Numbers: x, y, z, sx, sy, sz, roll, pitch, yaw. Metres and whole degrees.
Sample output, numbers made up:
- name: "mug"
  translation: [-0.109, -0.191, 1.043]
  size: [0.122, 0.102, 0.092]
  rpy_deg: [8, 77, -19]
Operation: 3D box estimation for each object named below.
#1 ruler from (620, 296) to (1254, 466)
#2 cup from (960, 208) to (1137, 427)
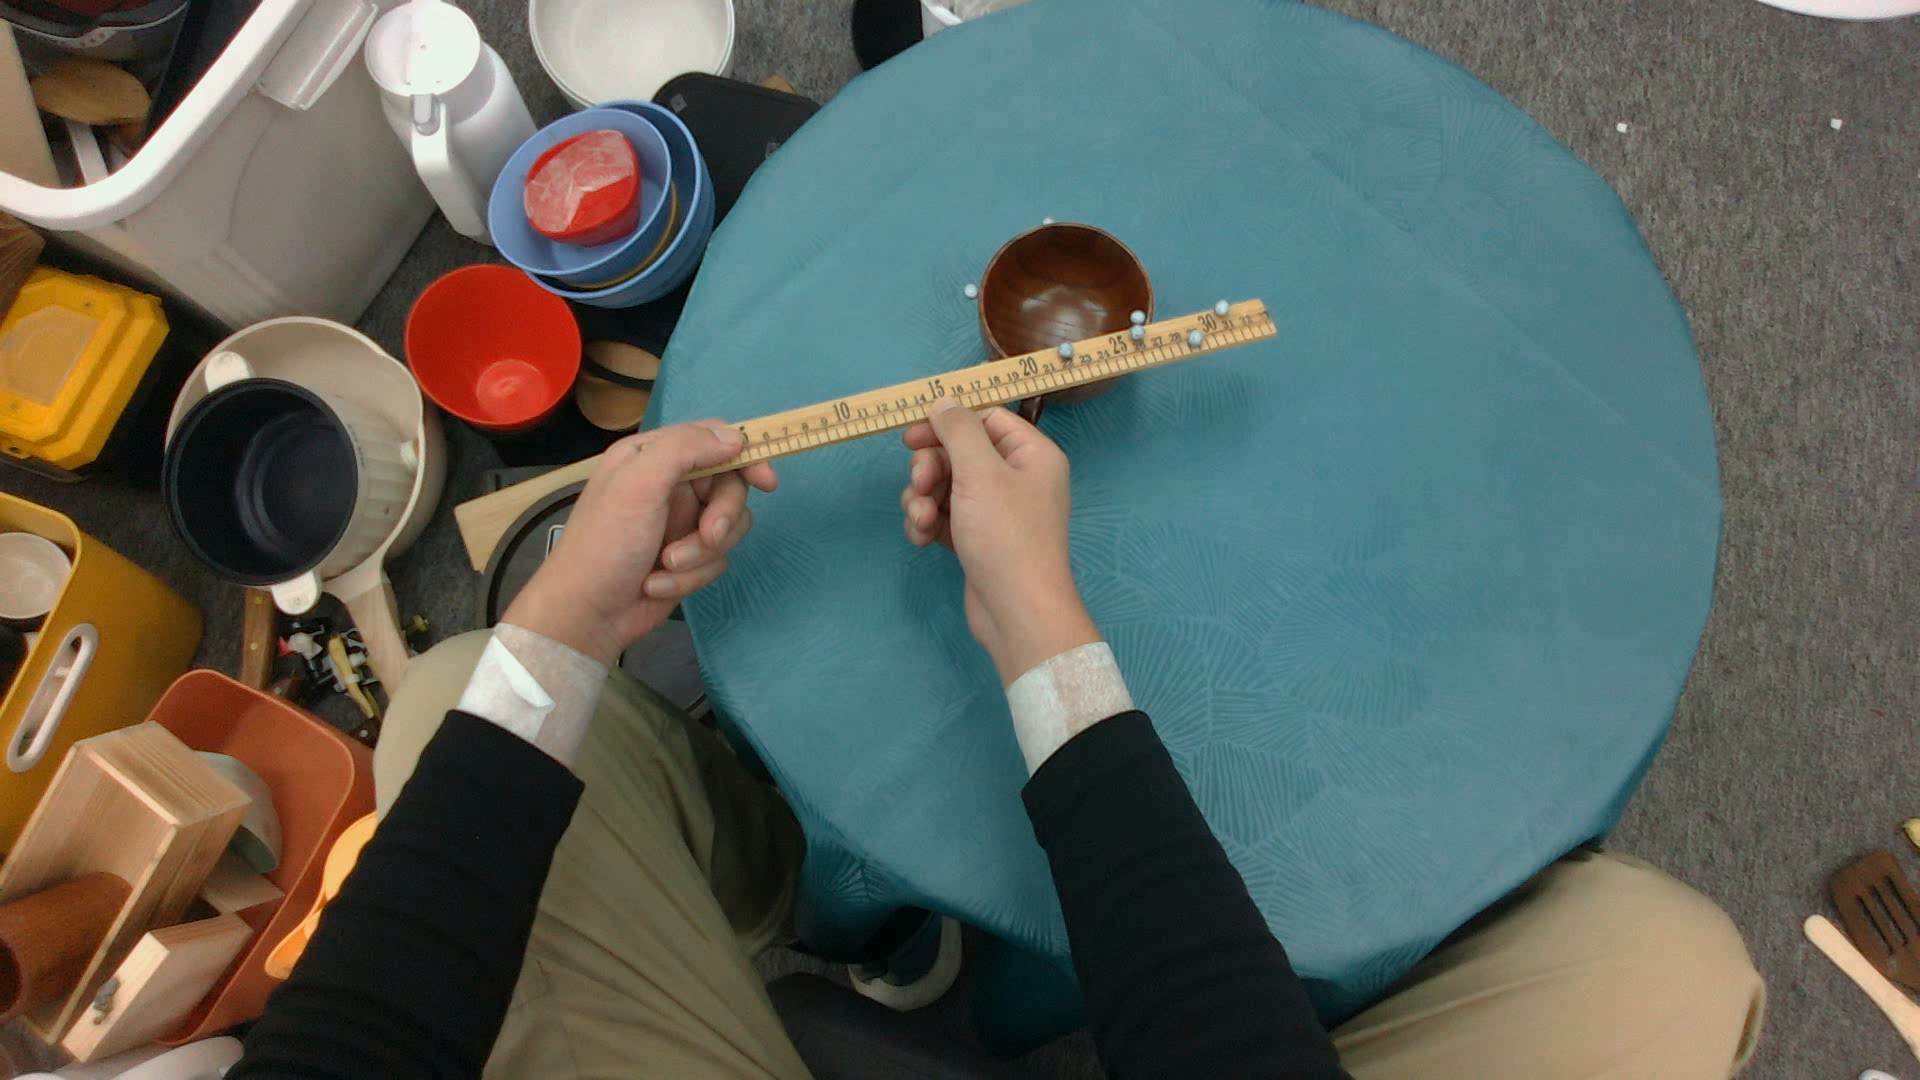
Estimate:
- name: "ruler"
  translation: [-0.006, -0.085, 0.704]
  size: [0.332, 0.022, 0.027]
  rpy_deg: [-13, 55, -9]
- name: "cup"
  translation: [0.043, -0.115, 0.762]
  size: [0.096, 0.067, 0.120]
  rpy_deg: [17, 75, 3]
